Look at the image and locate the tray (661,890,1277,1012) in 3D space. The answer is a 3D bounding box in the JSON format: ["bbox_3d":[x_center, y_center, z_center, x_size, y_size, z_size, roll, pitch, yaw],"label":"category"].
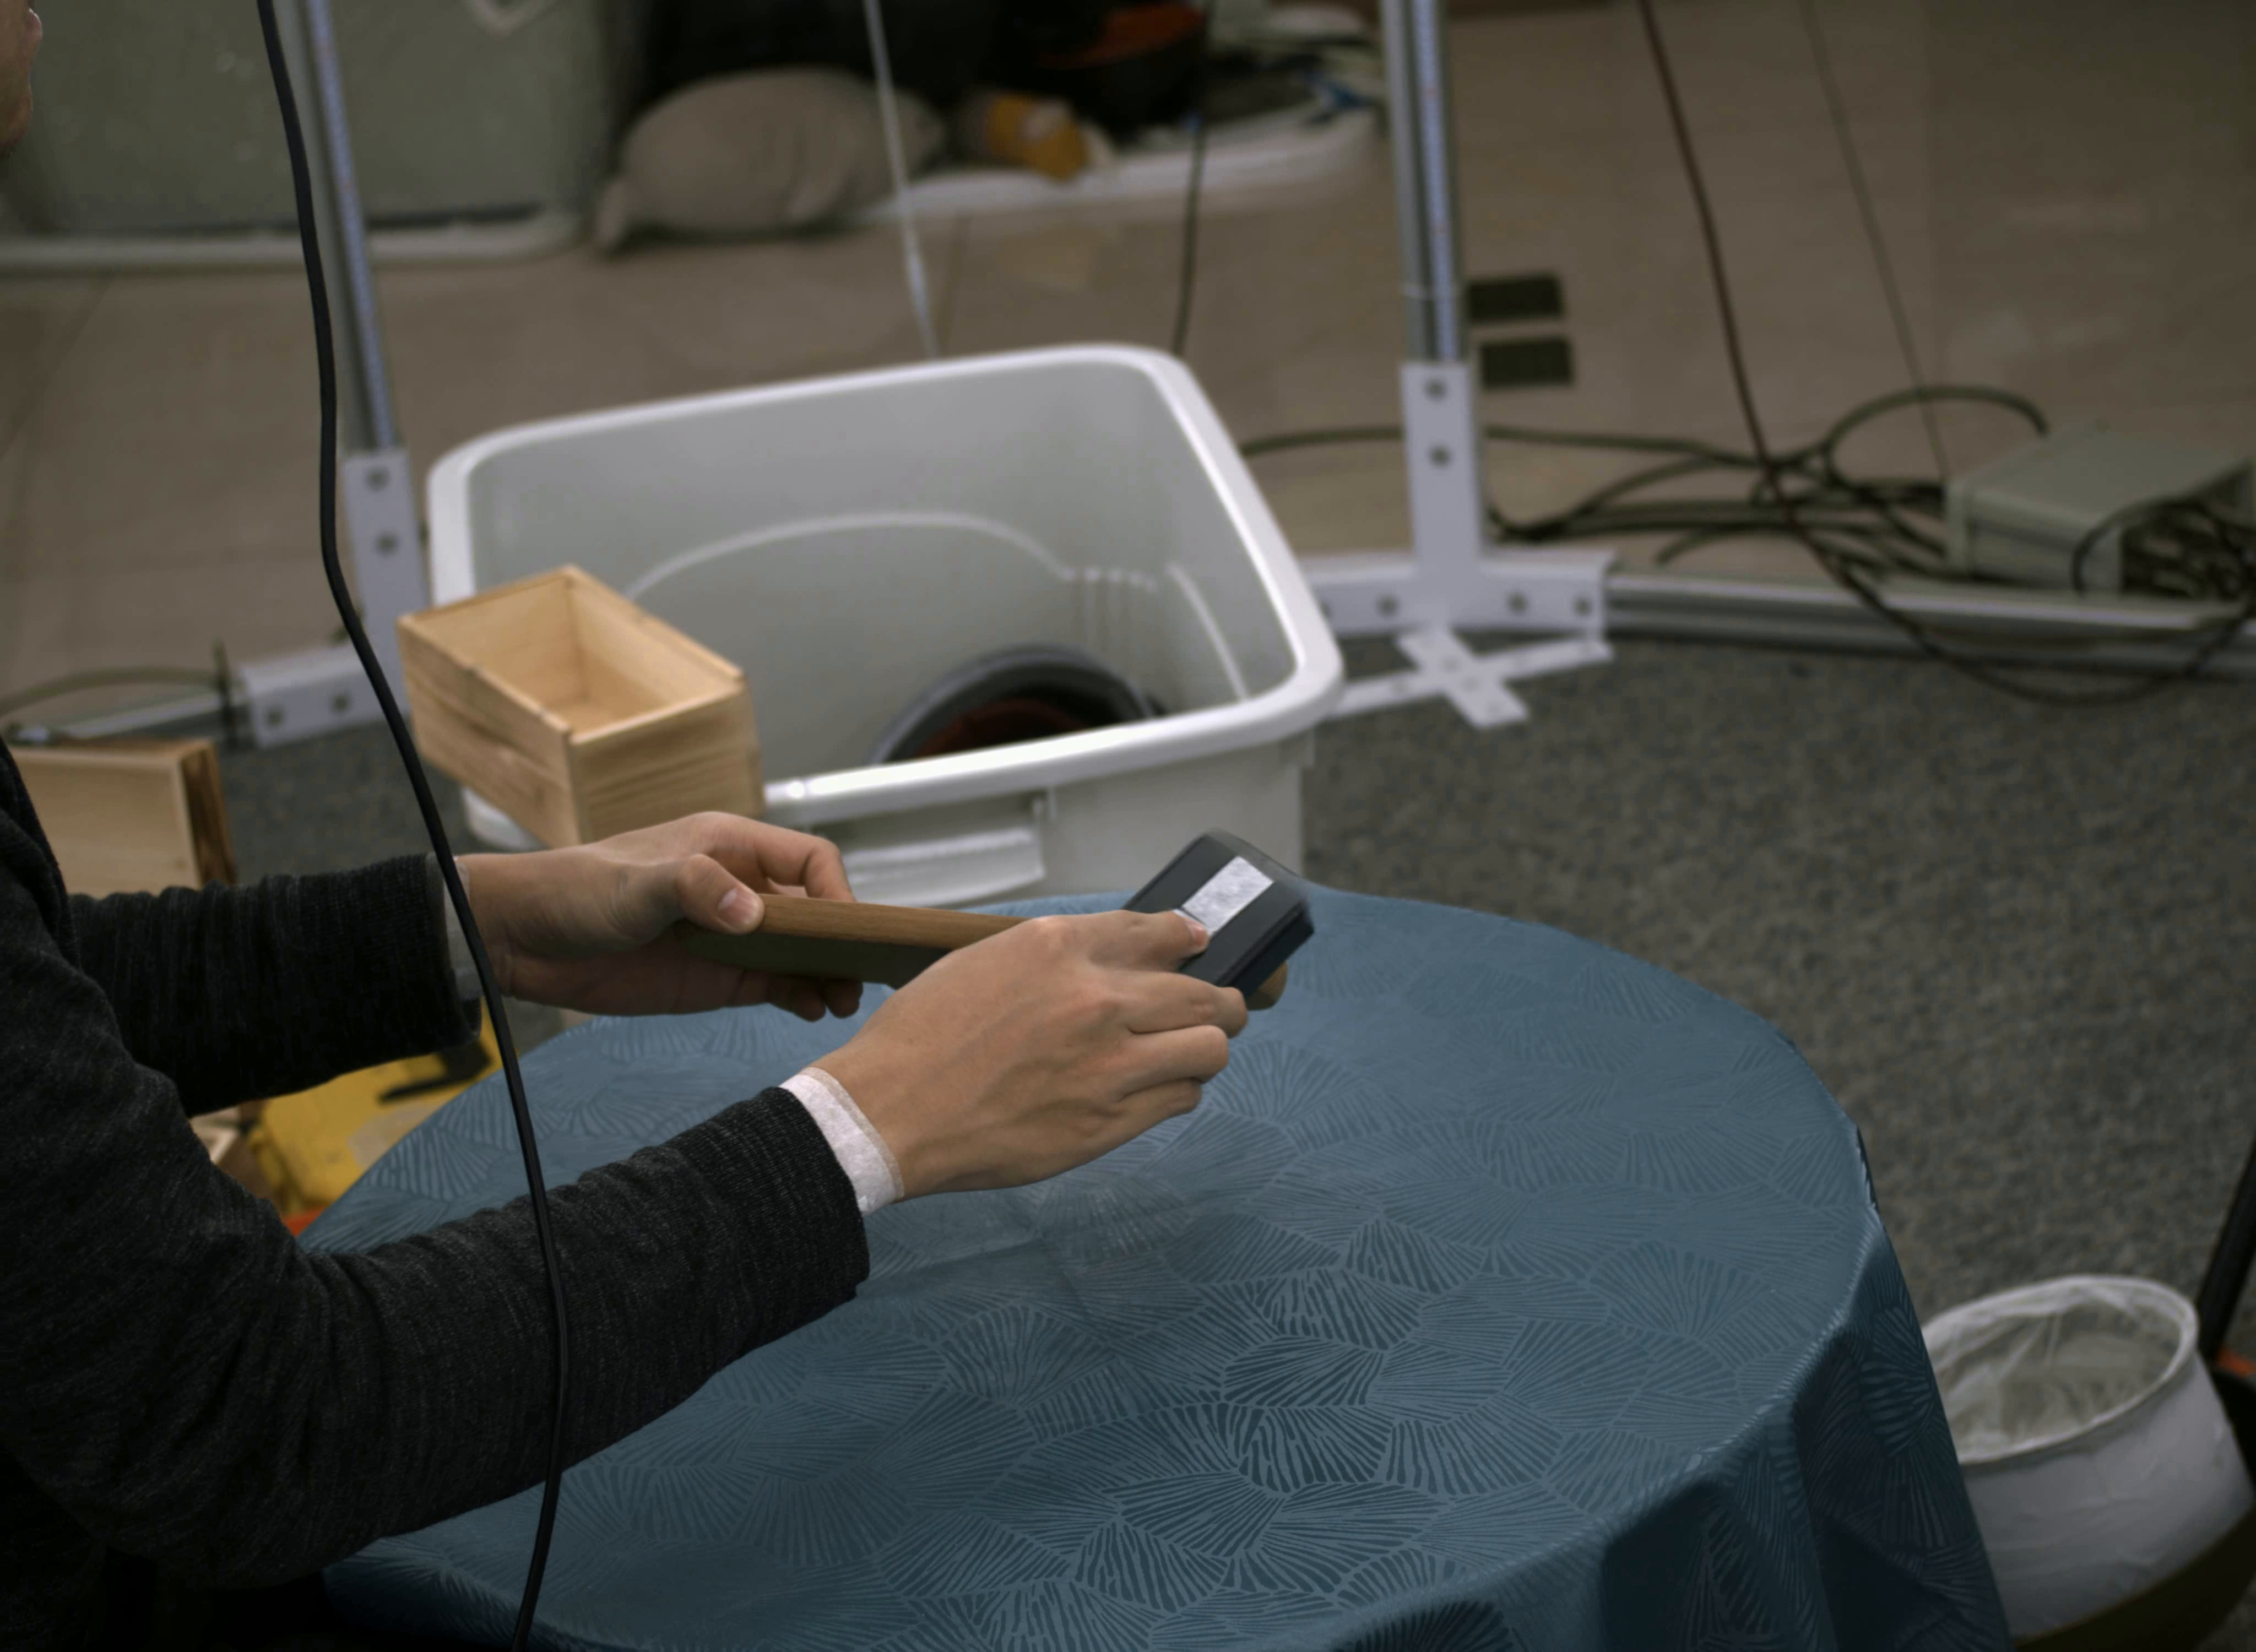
[{"bbox_3d":[-0.060,0.048,2.105,0.230,0.020,0.102,4,-12,6],"label":"tray"}]

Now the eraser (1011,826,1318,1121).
[{"bbox_3d":[0.013,0.051,2.019,0.053,0.031,0.124,31,48,16],"label":"eraser"}]
